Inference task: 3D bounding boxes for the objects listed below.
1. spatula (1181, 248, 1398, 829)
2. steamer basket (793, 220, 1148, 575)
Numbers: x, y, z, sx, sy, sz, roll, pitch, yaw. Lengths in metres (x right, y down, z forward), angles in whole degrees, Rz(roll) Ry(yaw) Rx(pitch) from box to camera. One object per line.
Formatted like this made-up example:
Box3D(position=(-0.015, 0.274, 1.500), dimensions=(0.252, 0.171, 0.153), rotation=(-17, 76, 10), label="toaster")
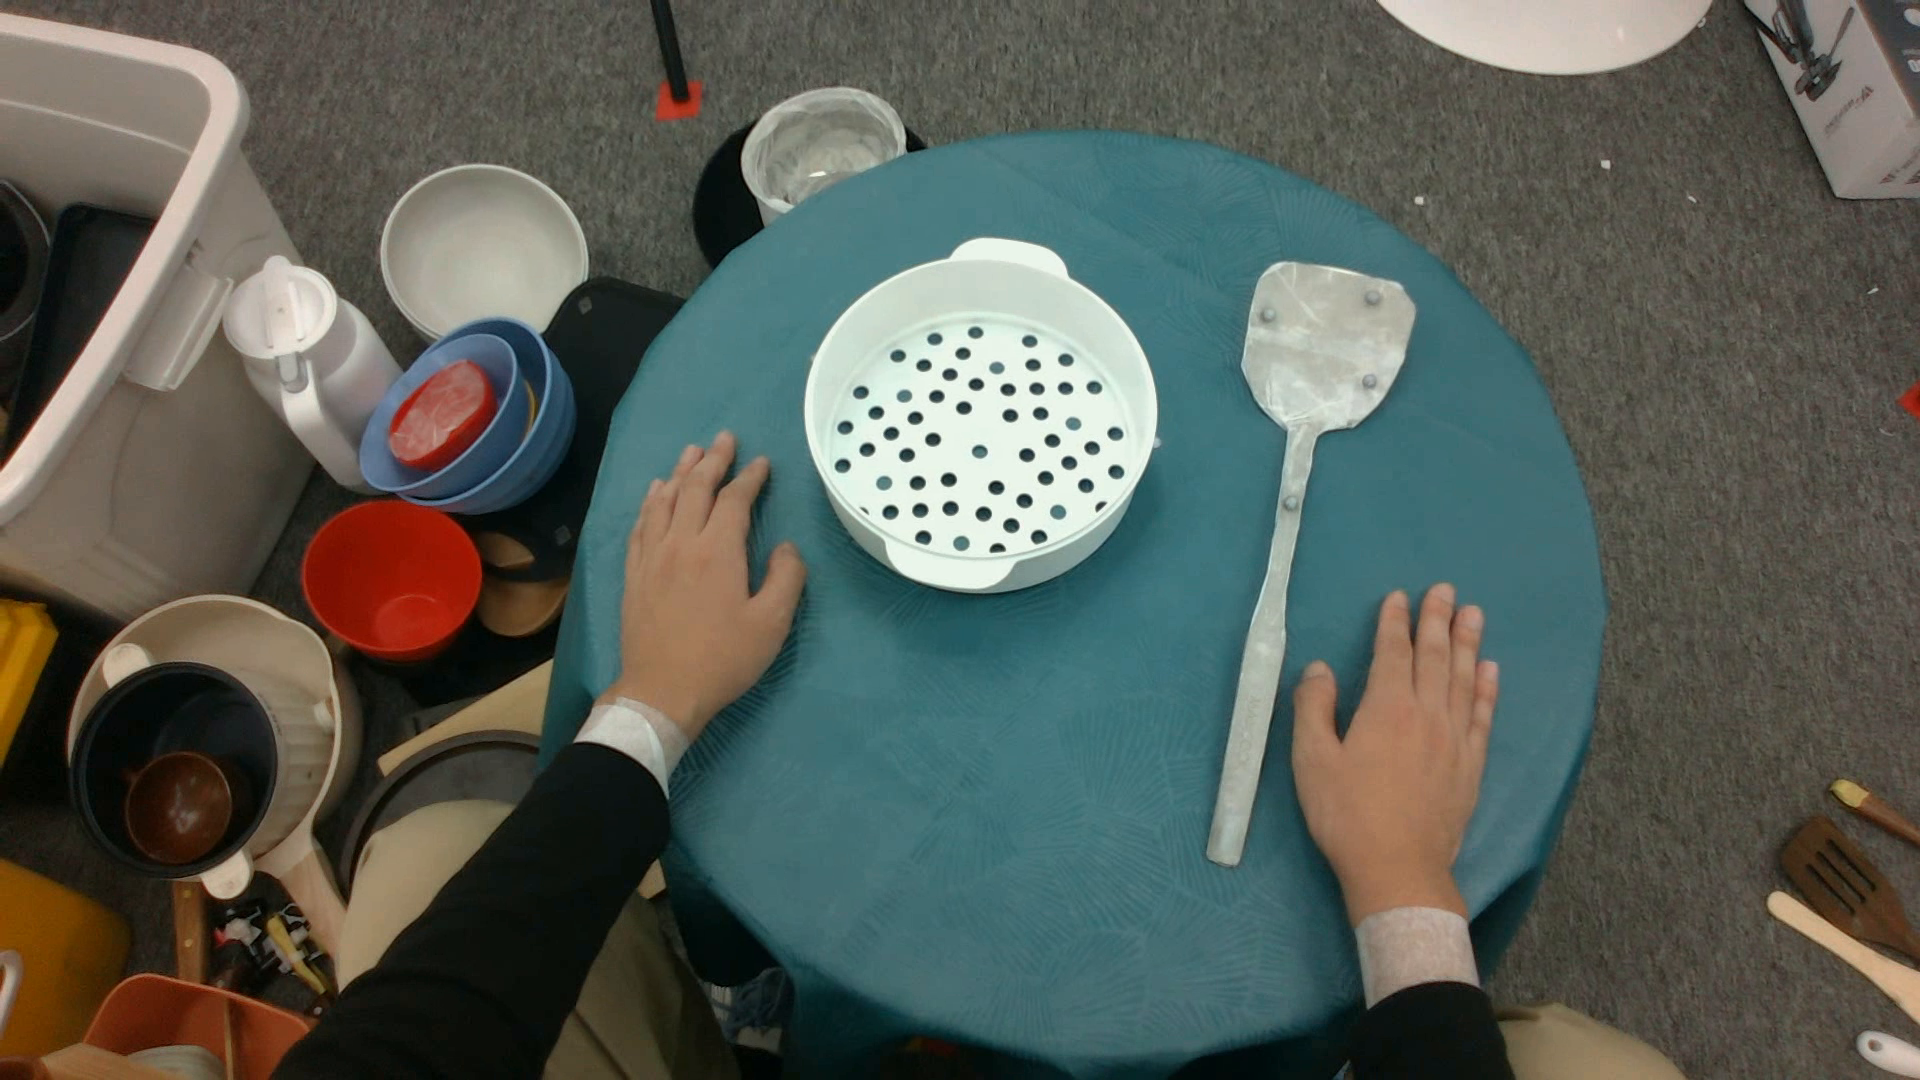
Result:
Box3D(position=(0.179, -0.009, 0.798), dimensions=(0.098, 0.044, 0.366), rotation=(15, 66, 4), label="spatula")
Box3D(position=(0.006, -0.077, 0.809), dimensions=(0.202, 0.069, 0.231), rotation=(10, 66, 5), label="steamer basket")
